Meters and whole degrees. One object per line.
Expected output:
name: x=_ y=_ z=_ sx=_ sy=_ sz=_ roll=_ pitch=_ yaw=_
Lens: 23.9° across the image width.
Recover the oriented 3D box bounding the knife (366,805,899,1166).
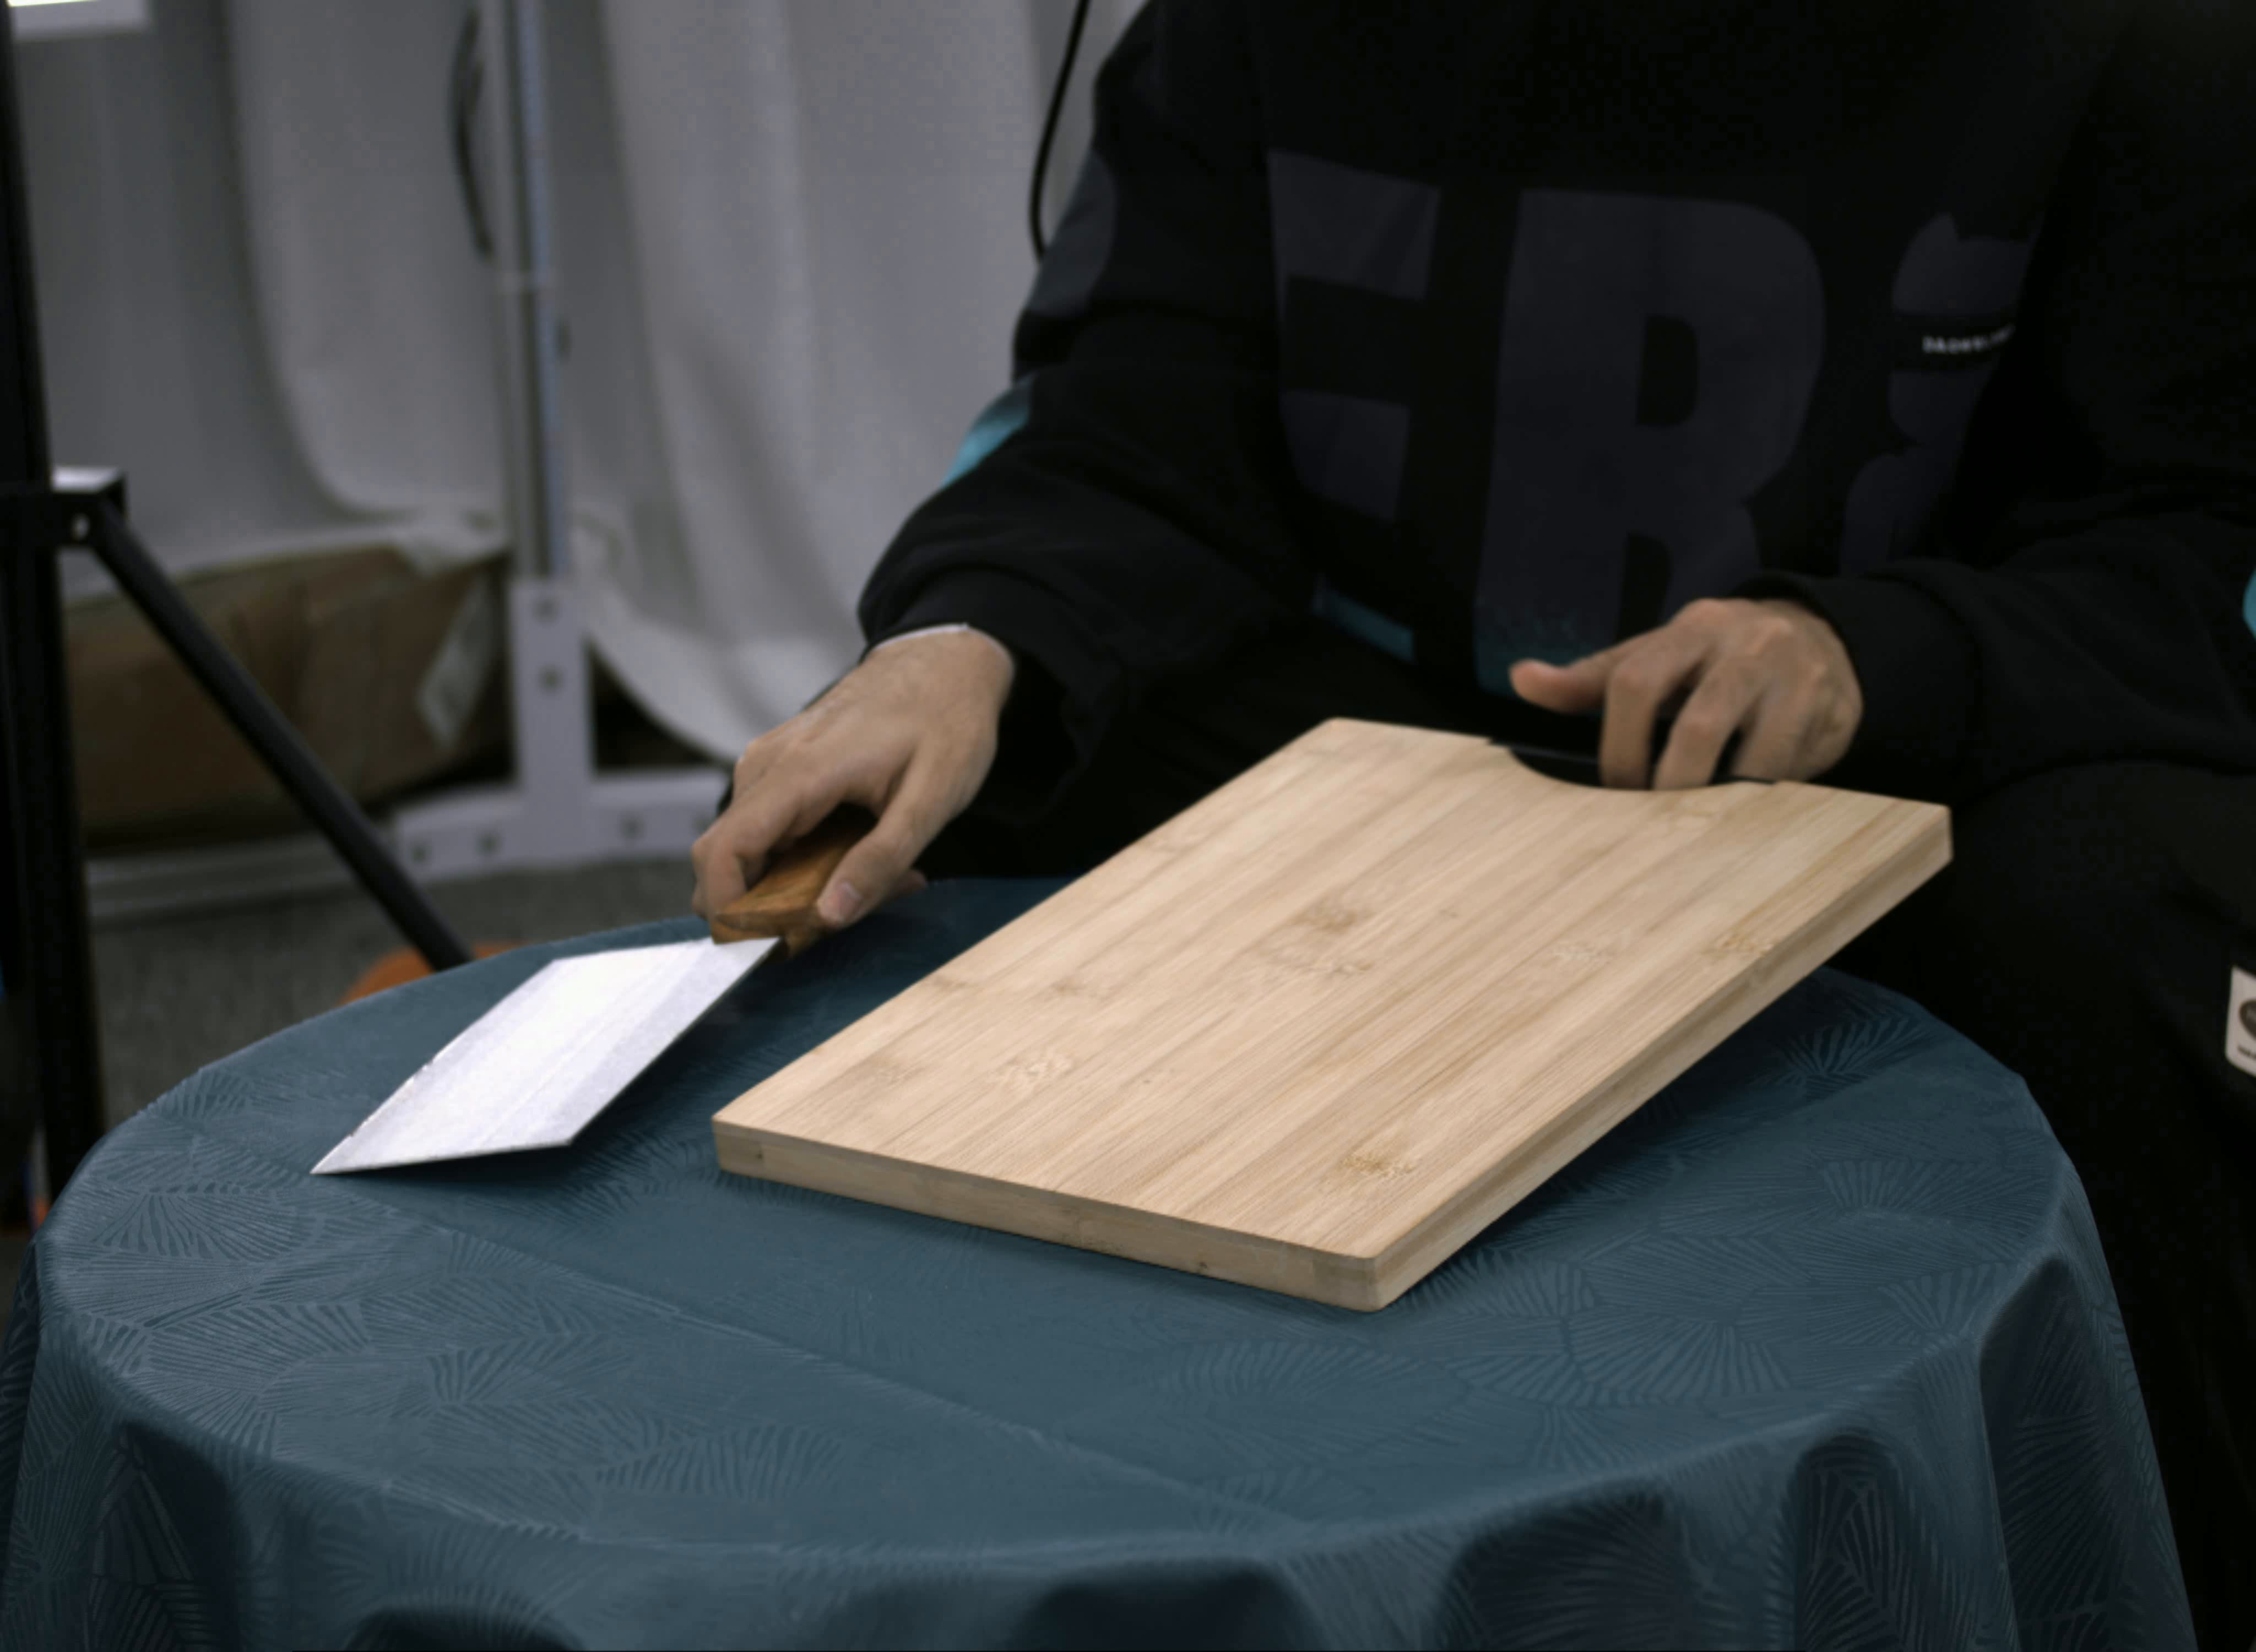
knife: x=-0.159 y=0.052 z=1.729 sx=0.094 sy=0.021 sz=0.303 roll=-10 pitch=14 yaw=21

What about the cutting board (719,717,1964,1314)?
cutting board: x=0.071 y=0.049 z=1.644 sx=0.256 sy=0.023 sz=0.343 roll=8 pitch=27 yaw=35
